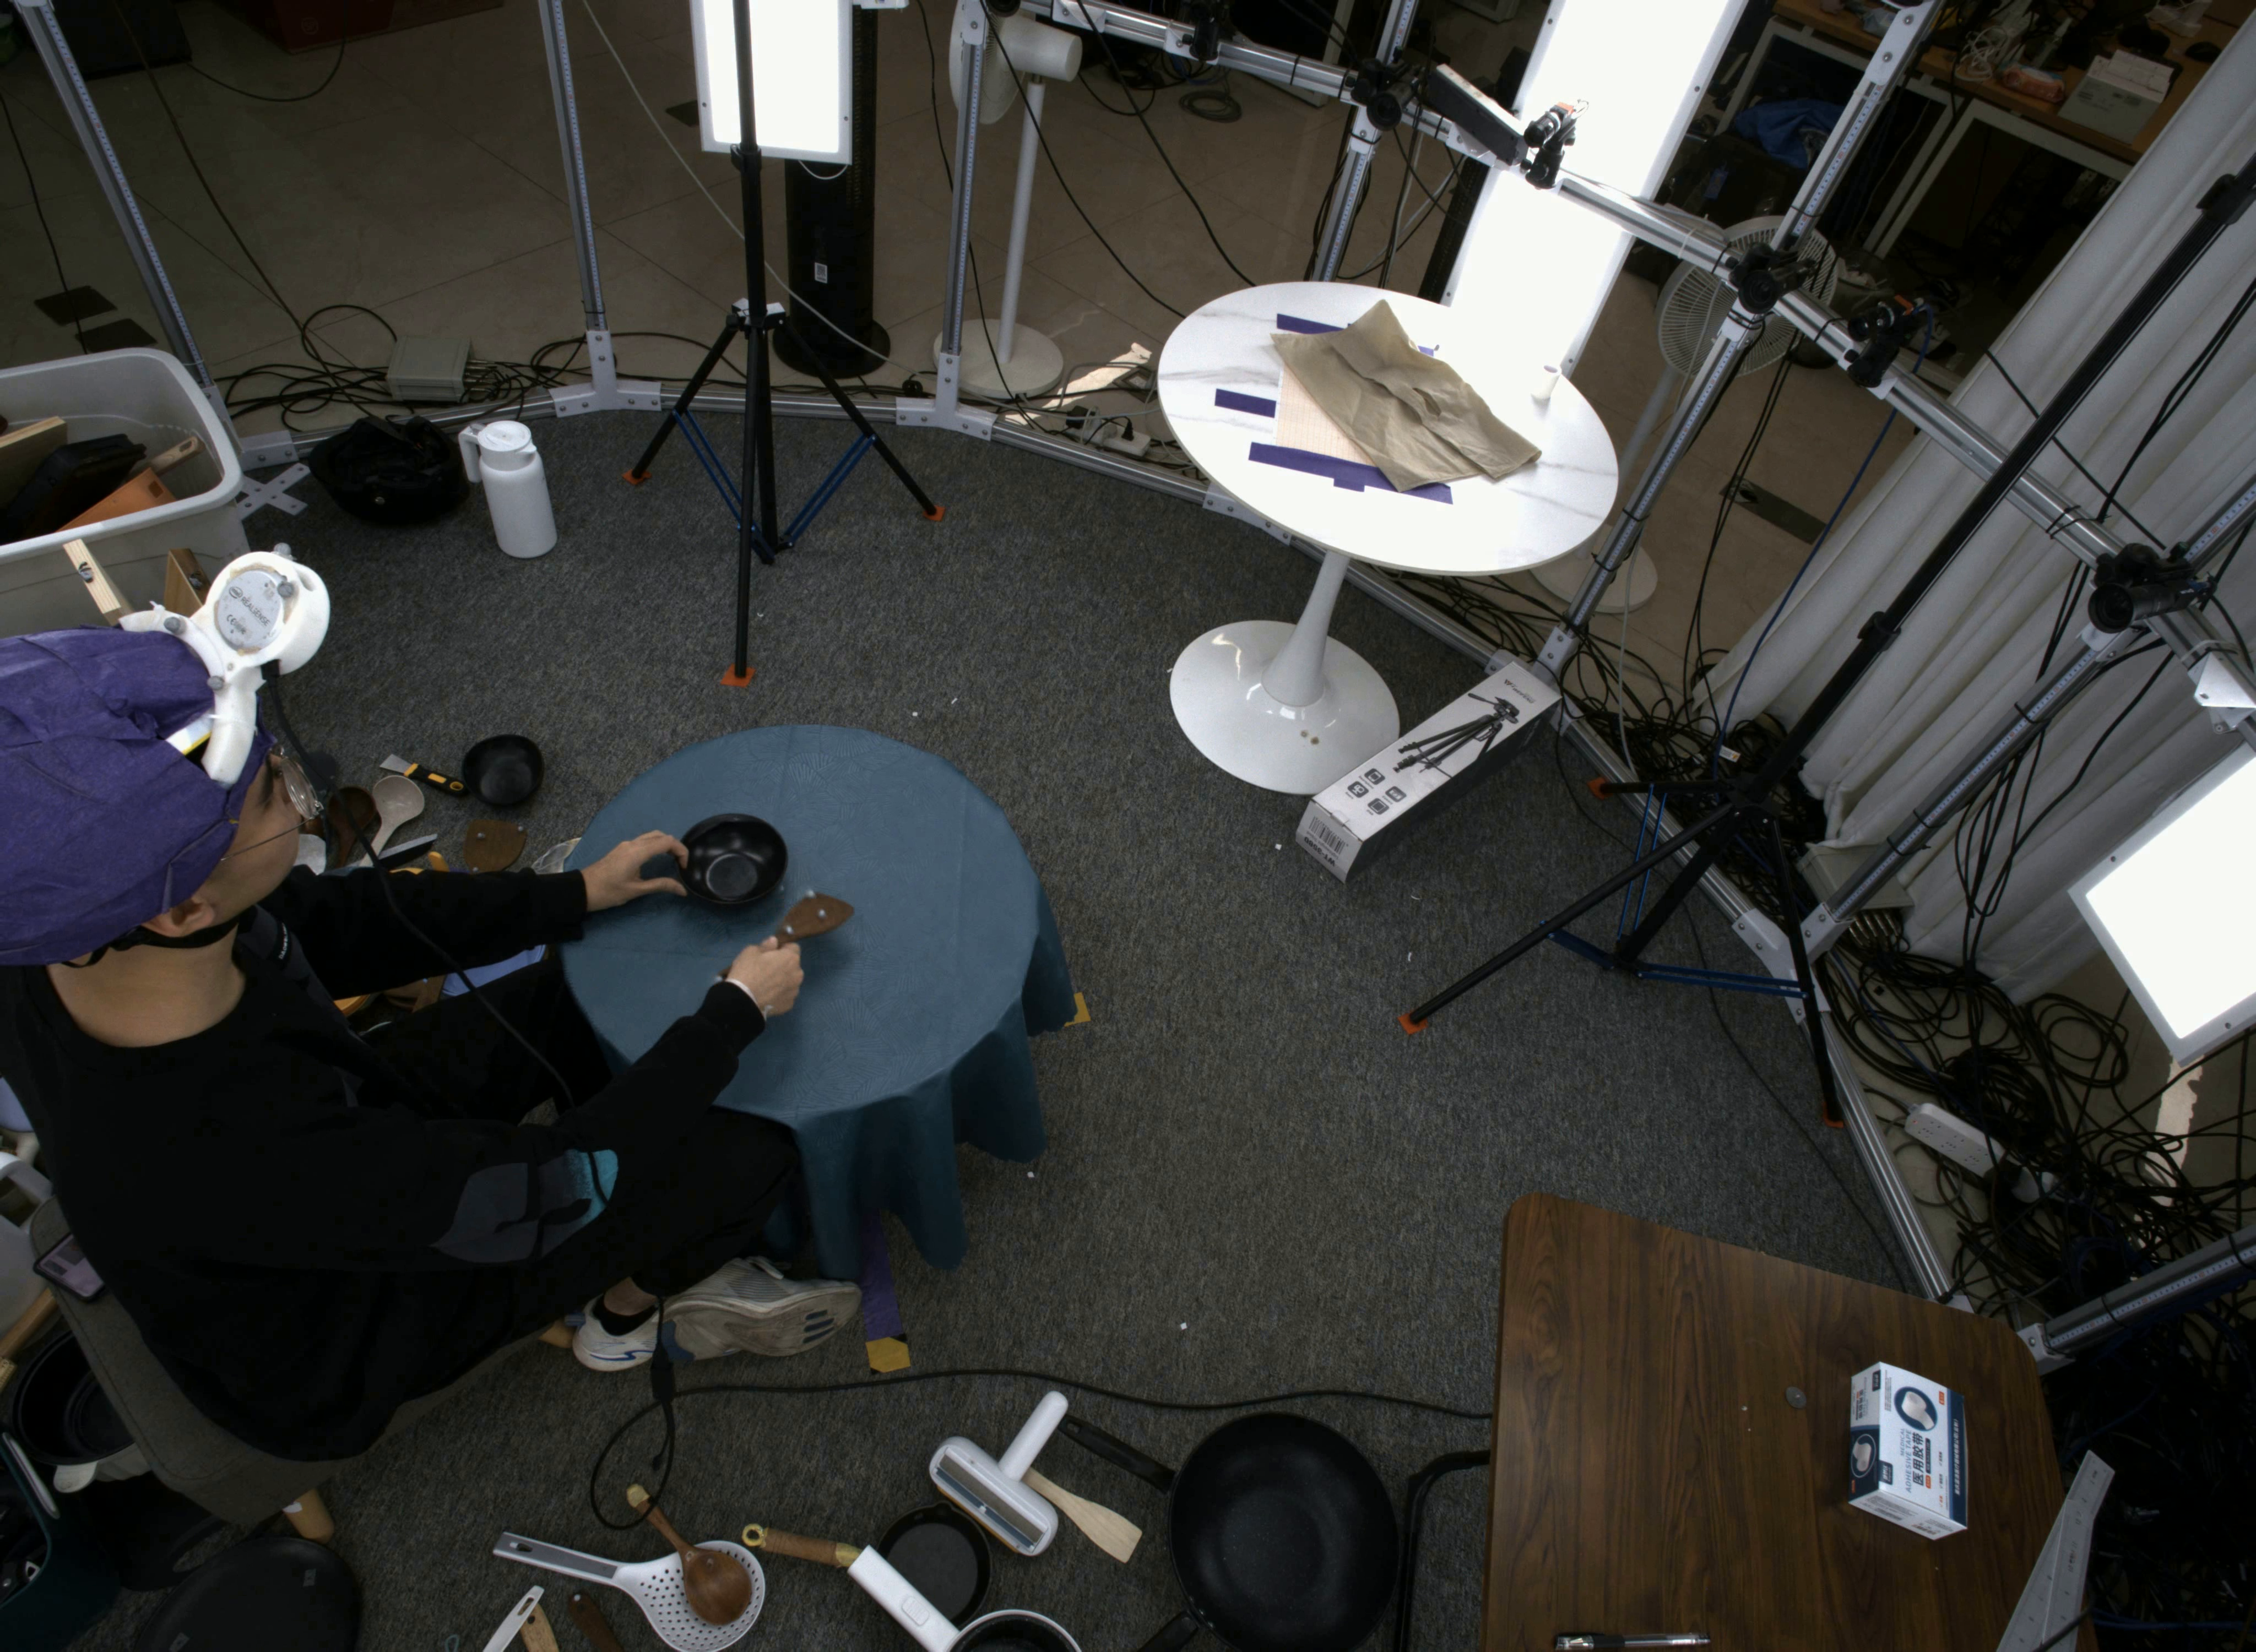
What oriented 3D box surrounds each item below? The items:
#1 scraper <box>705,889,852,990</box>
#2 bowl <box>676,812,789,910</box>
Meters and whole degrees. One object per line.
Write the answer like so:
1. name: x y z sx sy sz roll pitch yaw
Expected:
1. scraper: -0.418 0.133 1.532 0.073 0.011 0.211 19 35 23
2. bowl: -0.501 0.051 1.638 0.140 0.050 0.137 10 54 -12
